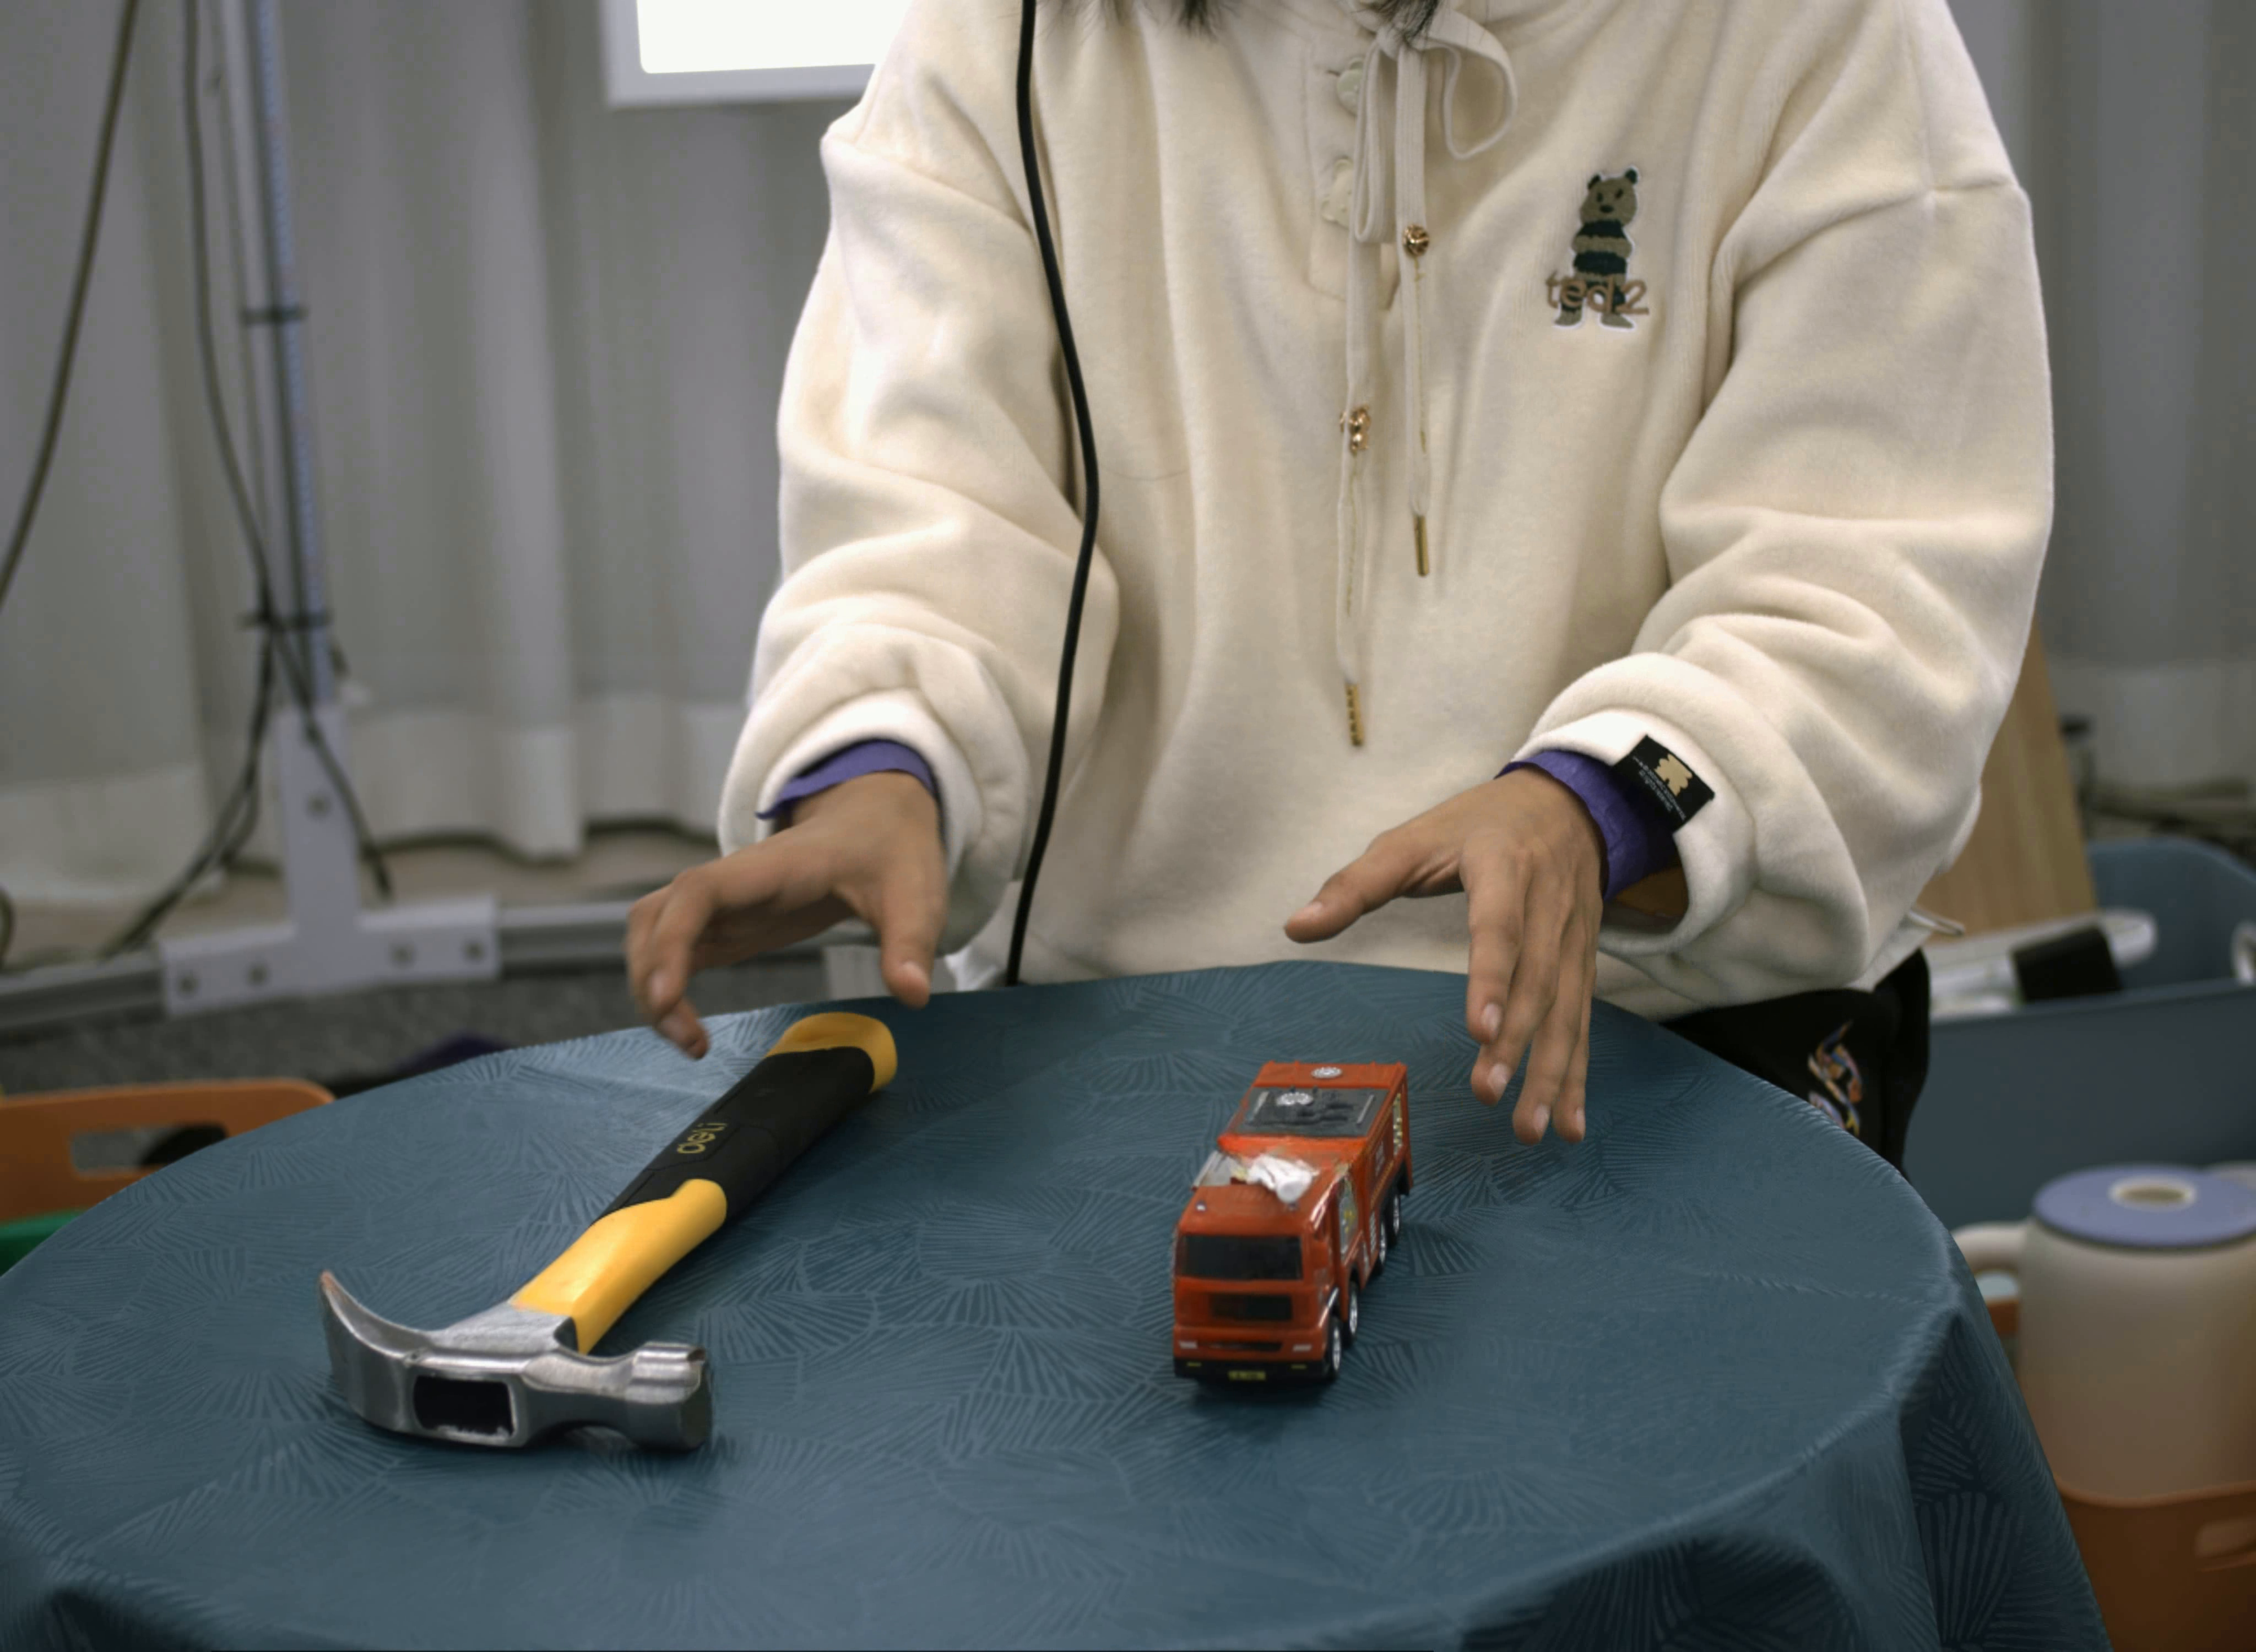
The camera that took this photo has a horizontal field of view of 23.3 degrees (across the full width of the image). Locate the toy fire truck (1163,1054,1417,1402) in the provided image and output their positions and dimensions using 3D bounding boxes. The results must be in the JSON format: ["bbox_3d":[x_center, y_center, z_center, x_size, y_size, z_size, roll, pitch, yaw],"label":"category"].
[{"bbox_3d":[0.049,0.114,1.592,0.054,0.070,0.168,0,14,12],"label":"toy fire truck"}]

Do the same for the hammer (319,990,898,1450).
[{"bbox_3d":[-0.140,0.113,1.673,0.131,0.032,0.340,0,16,17],"label":"hammer"}]
